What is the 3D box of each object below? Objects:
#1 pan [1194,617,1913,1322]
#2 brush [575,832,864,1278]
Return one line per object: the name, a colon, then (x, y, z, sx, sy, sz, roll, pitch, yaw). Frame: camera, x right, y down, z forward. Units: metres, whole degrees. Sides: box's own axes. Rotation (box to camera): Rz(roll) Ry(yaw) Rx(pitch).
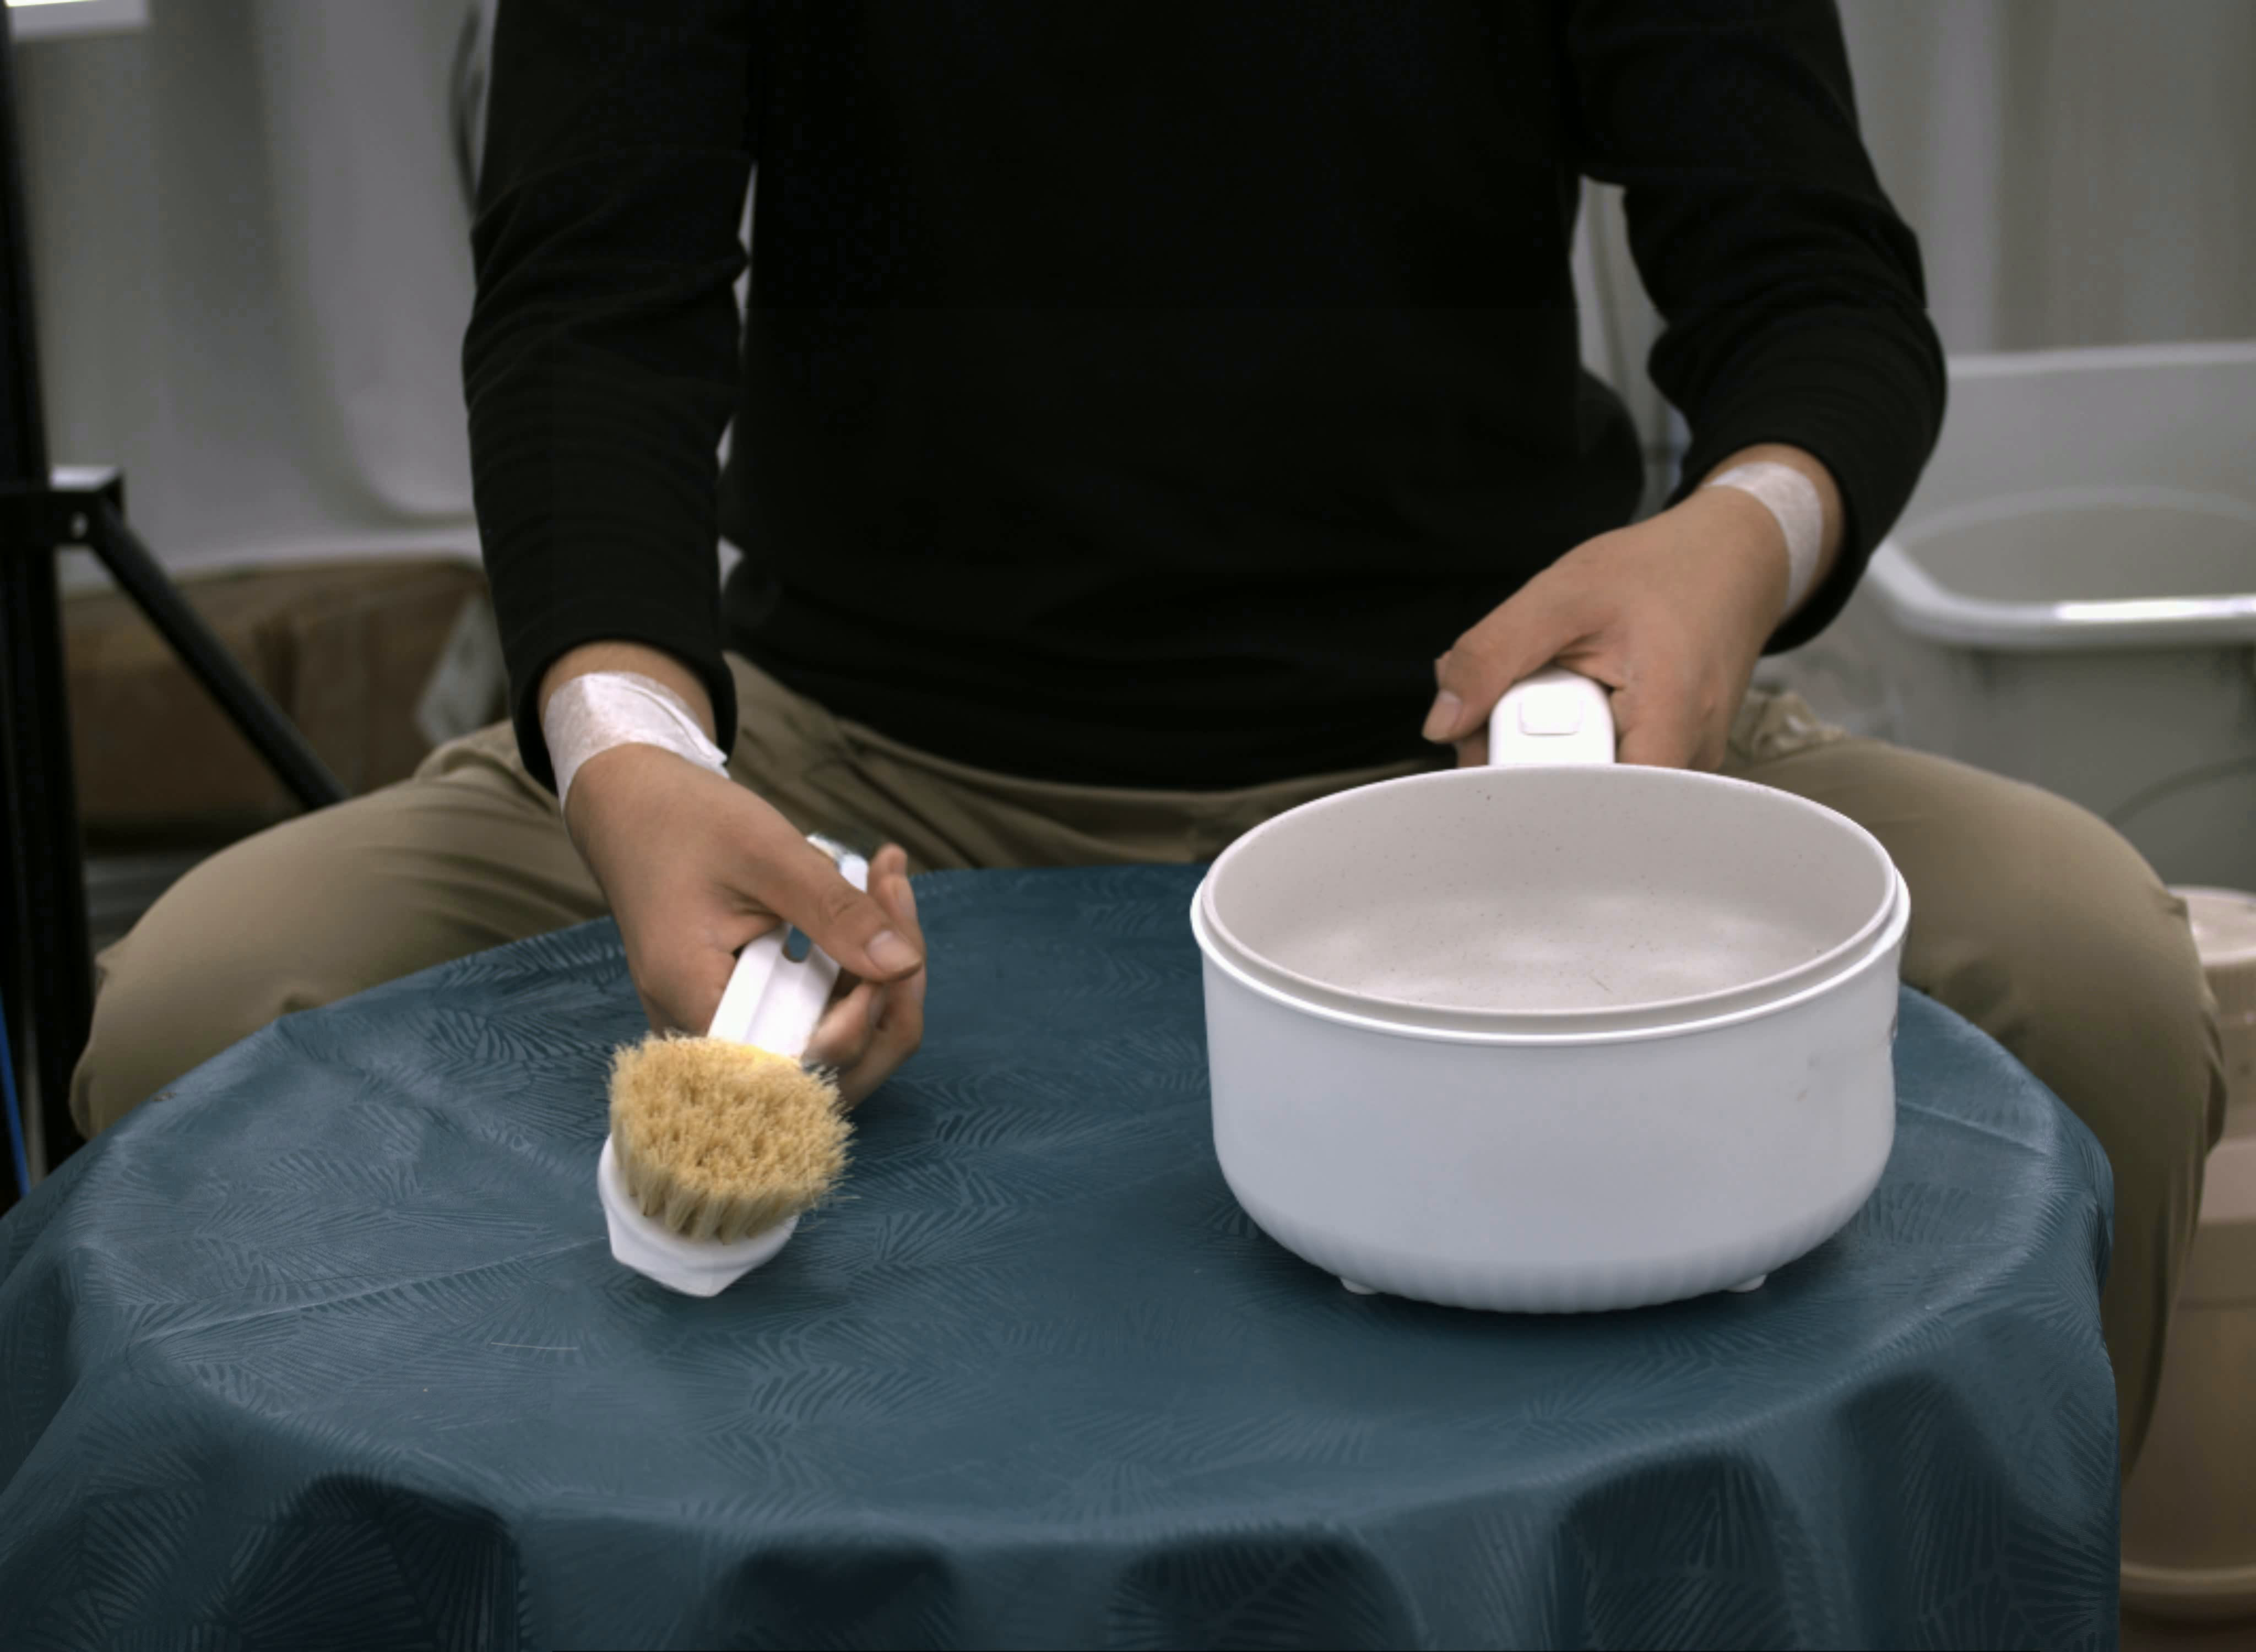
pan: (0.128, 0.038, 1.569, 0.201, 0.102, 0.355, -2, 20, 7)
brush: (-0.108, 0.046, 1.589, 0.068, 0.056, 0.266, 26, 27, -3)
